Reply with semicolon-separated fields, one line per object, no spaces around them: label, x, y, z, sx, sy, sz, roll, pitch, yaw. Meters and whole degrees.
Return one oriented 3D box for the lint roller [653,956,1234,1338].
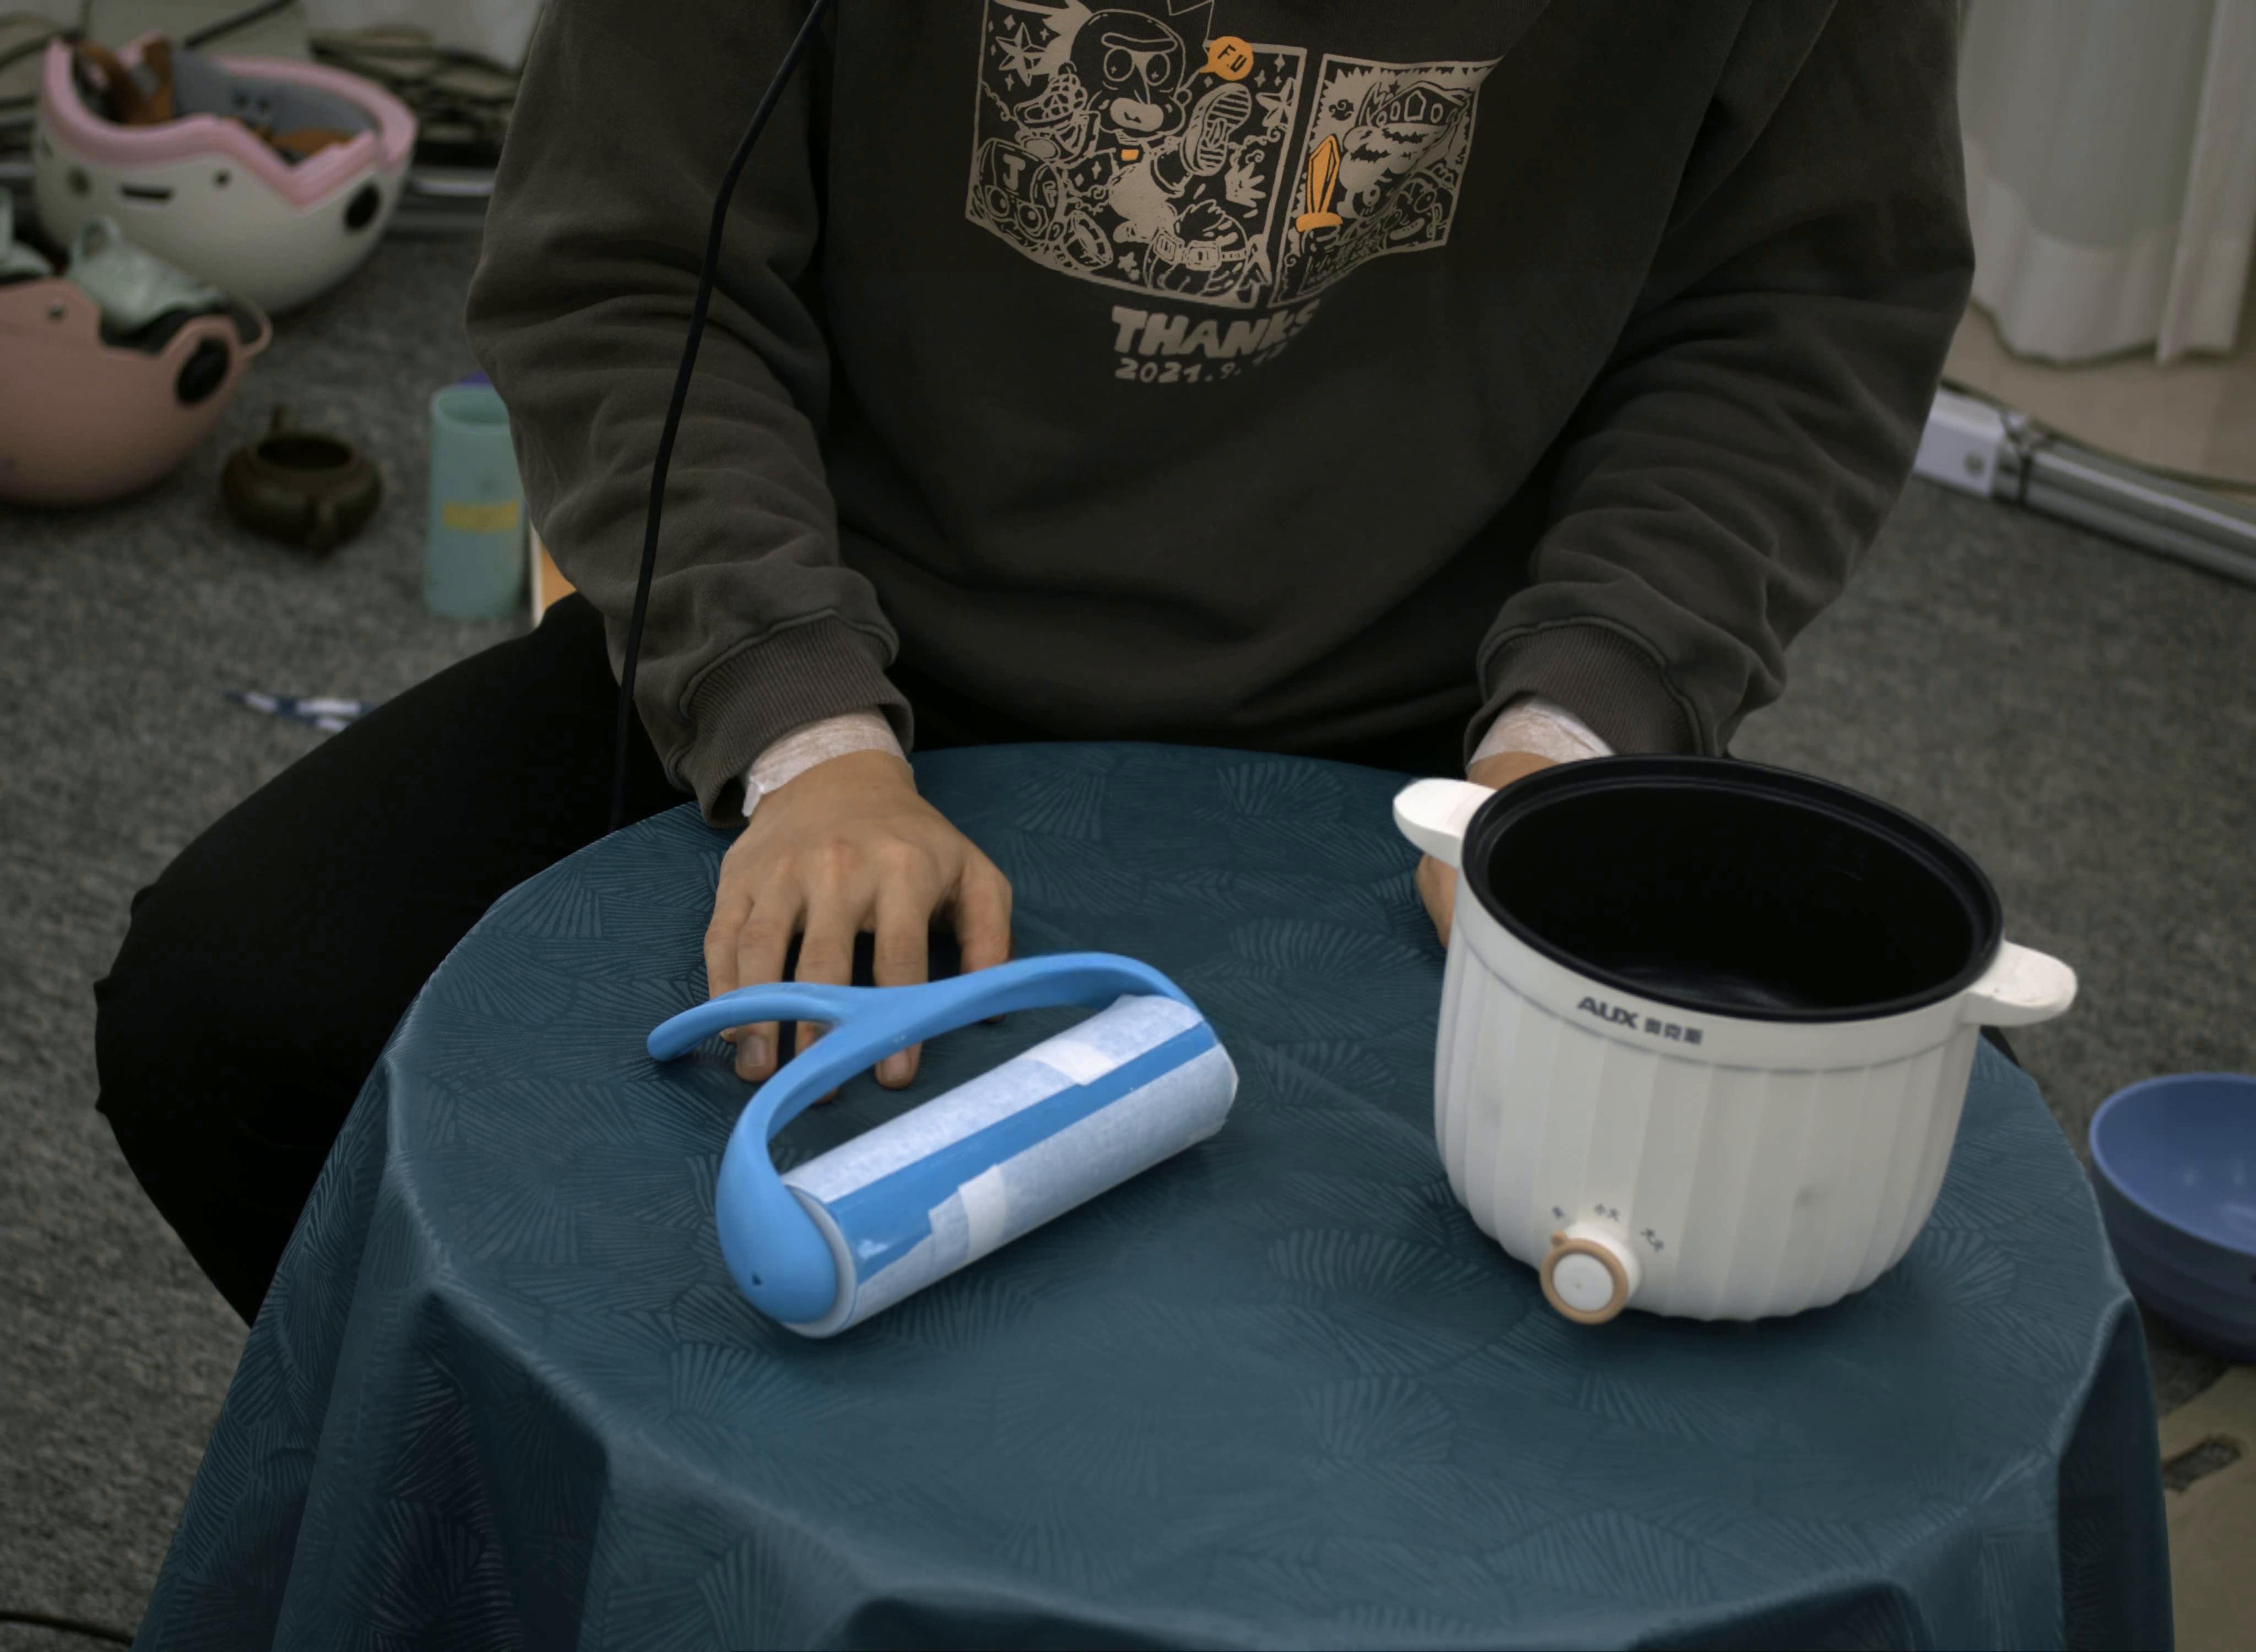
lint roller;-0.091;0.088;1.790;0.181;0.068;0.228;25;33;30

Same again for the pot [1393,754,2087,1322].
pot;0.193;0.078;1.784;0.241;0.142;0.190;15;24;20
